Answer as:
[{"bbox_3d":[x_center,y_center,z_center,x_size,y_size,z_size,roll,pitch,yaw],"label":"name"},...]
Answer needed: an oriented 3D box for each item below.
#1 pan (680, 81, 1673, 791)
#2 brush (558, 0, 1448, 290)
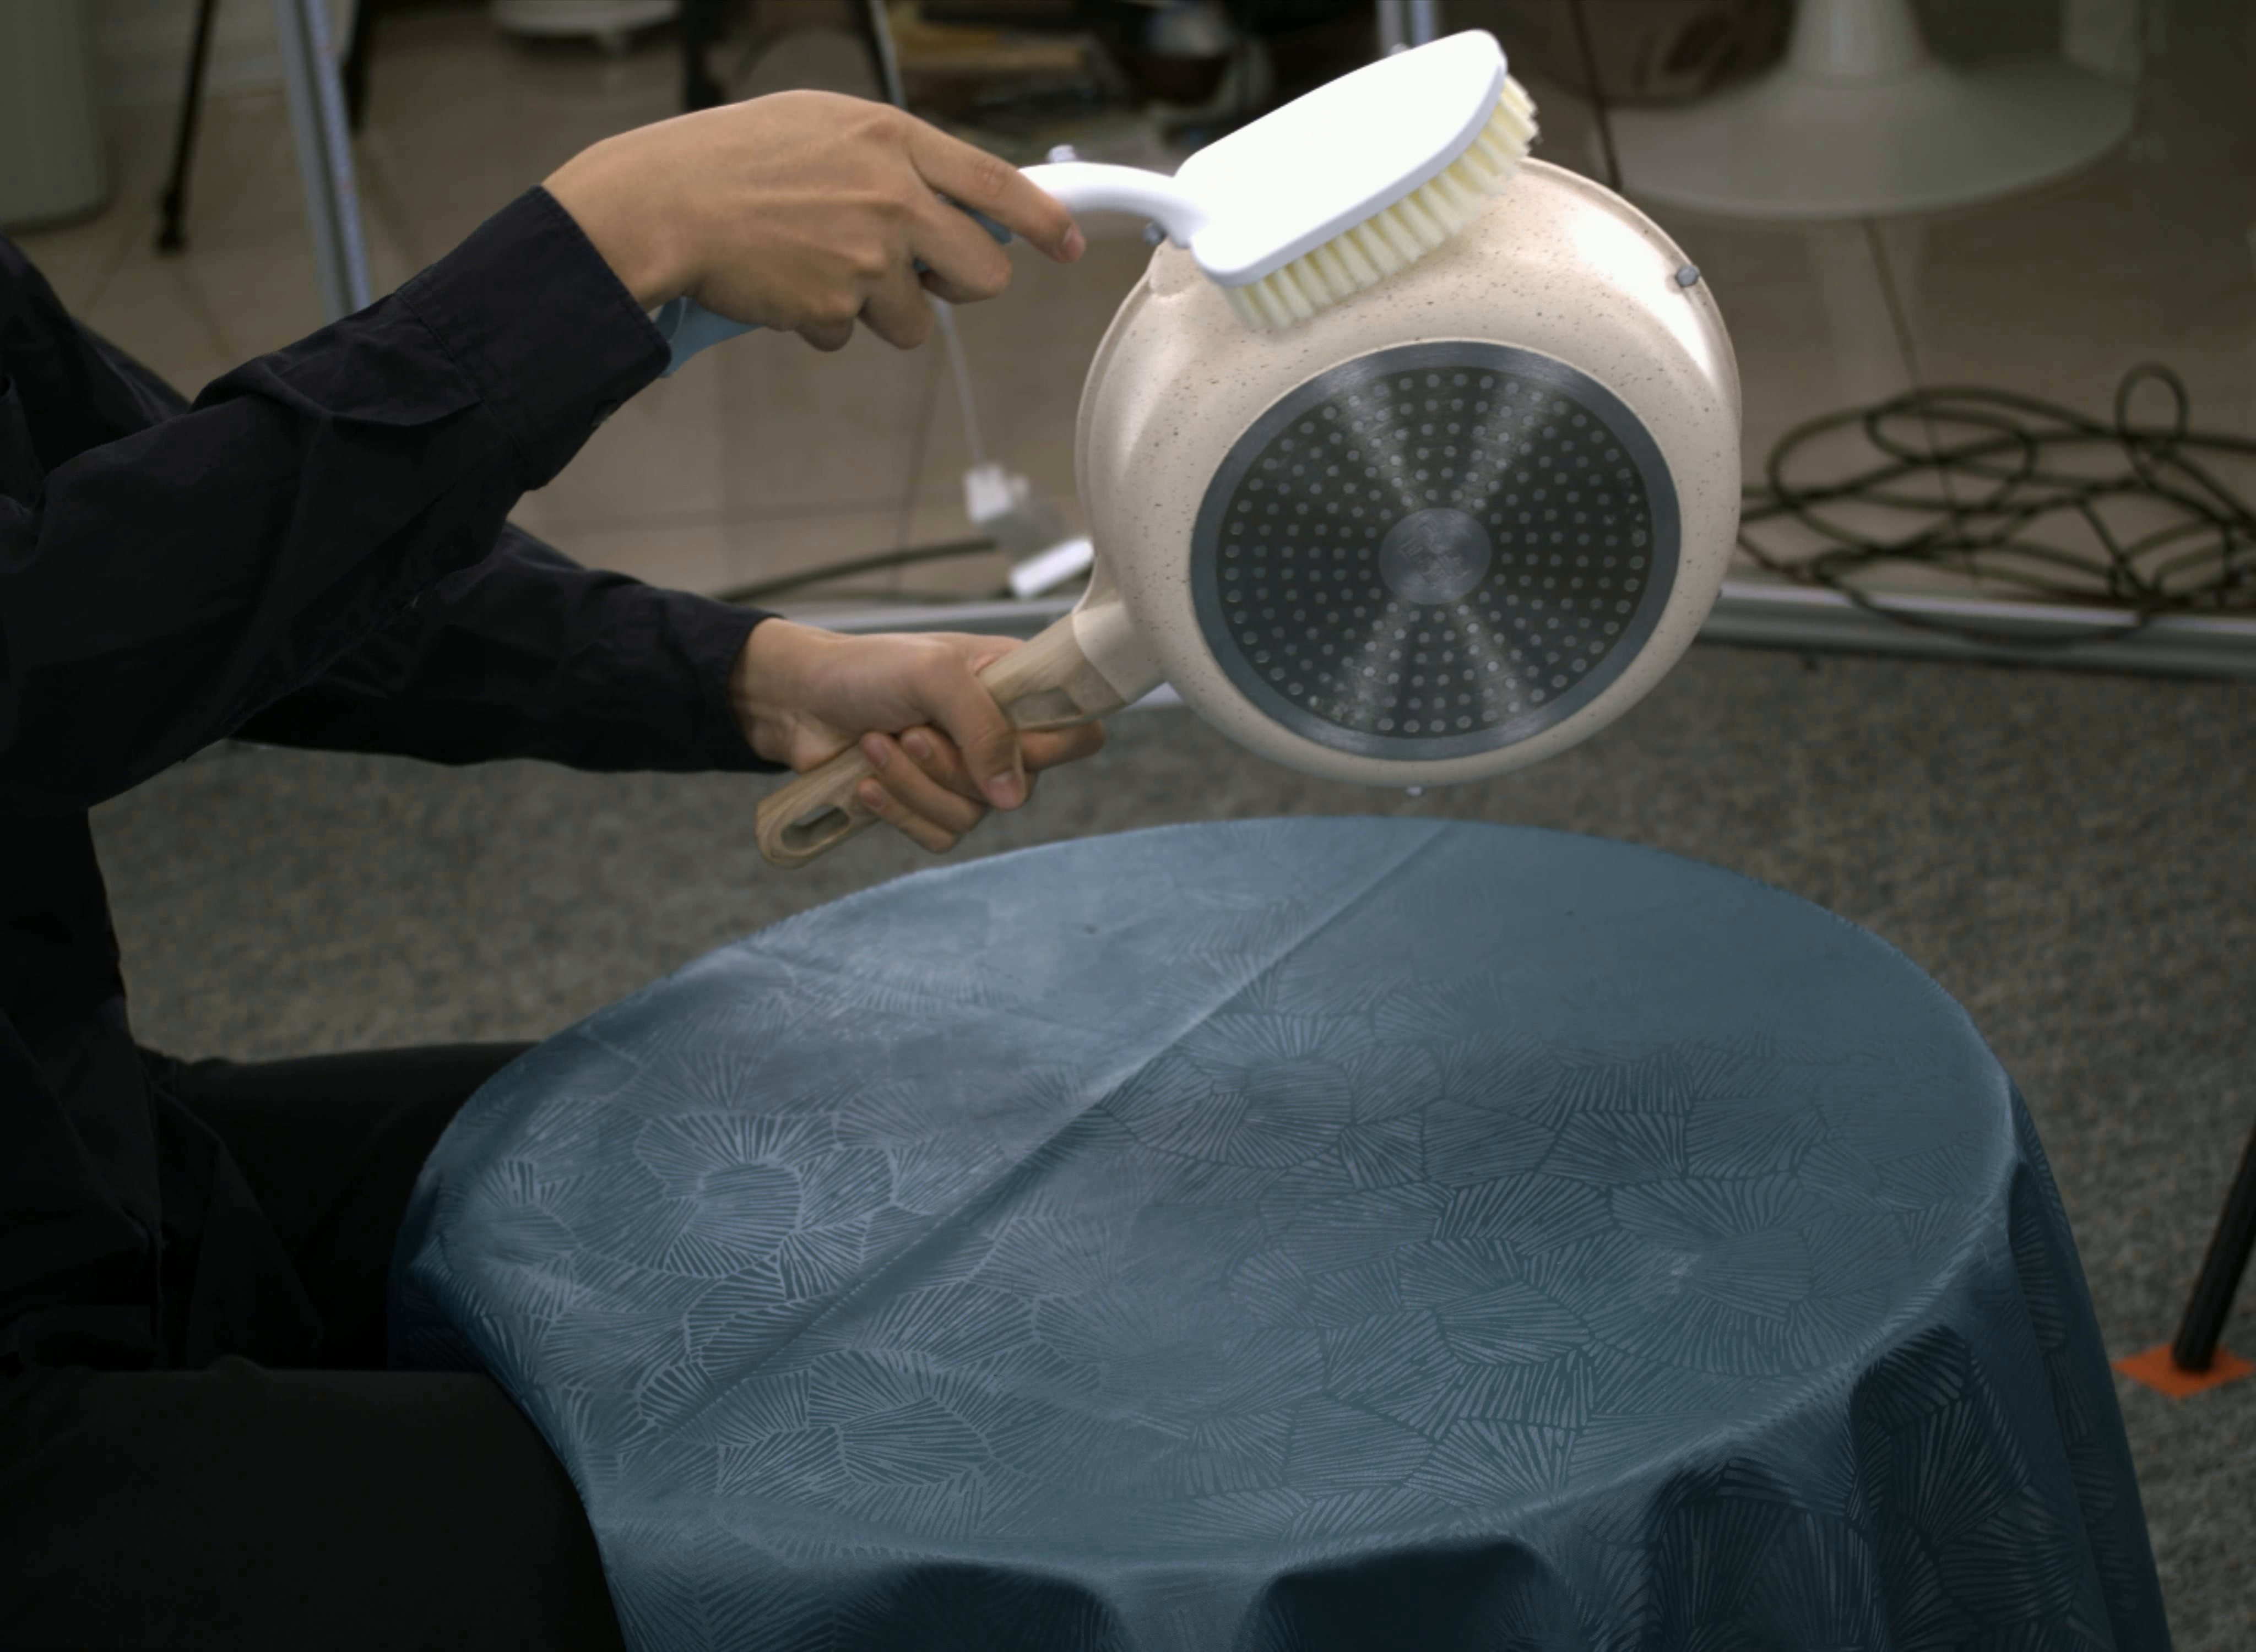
[{"bbox_3d":[0.009,-0.106,2.138,0.437,0.267,0.100,-32,35,18],"label":"pan"},{"bbox_3d":[-0.042,-0.231,2.008,0.325,0.085,0.082,-19,9,1],"label":"brush"}]
